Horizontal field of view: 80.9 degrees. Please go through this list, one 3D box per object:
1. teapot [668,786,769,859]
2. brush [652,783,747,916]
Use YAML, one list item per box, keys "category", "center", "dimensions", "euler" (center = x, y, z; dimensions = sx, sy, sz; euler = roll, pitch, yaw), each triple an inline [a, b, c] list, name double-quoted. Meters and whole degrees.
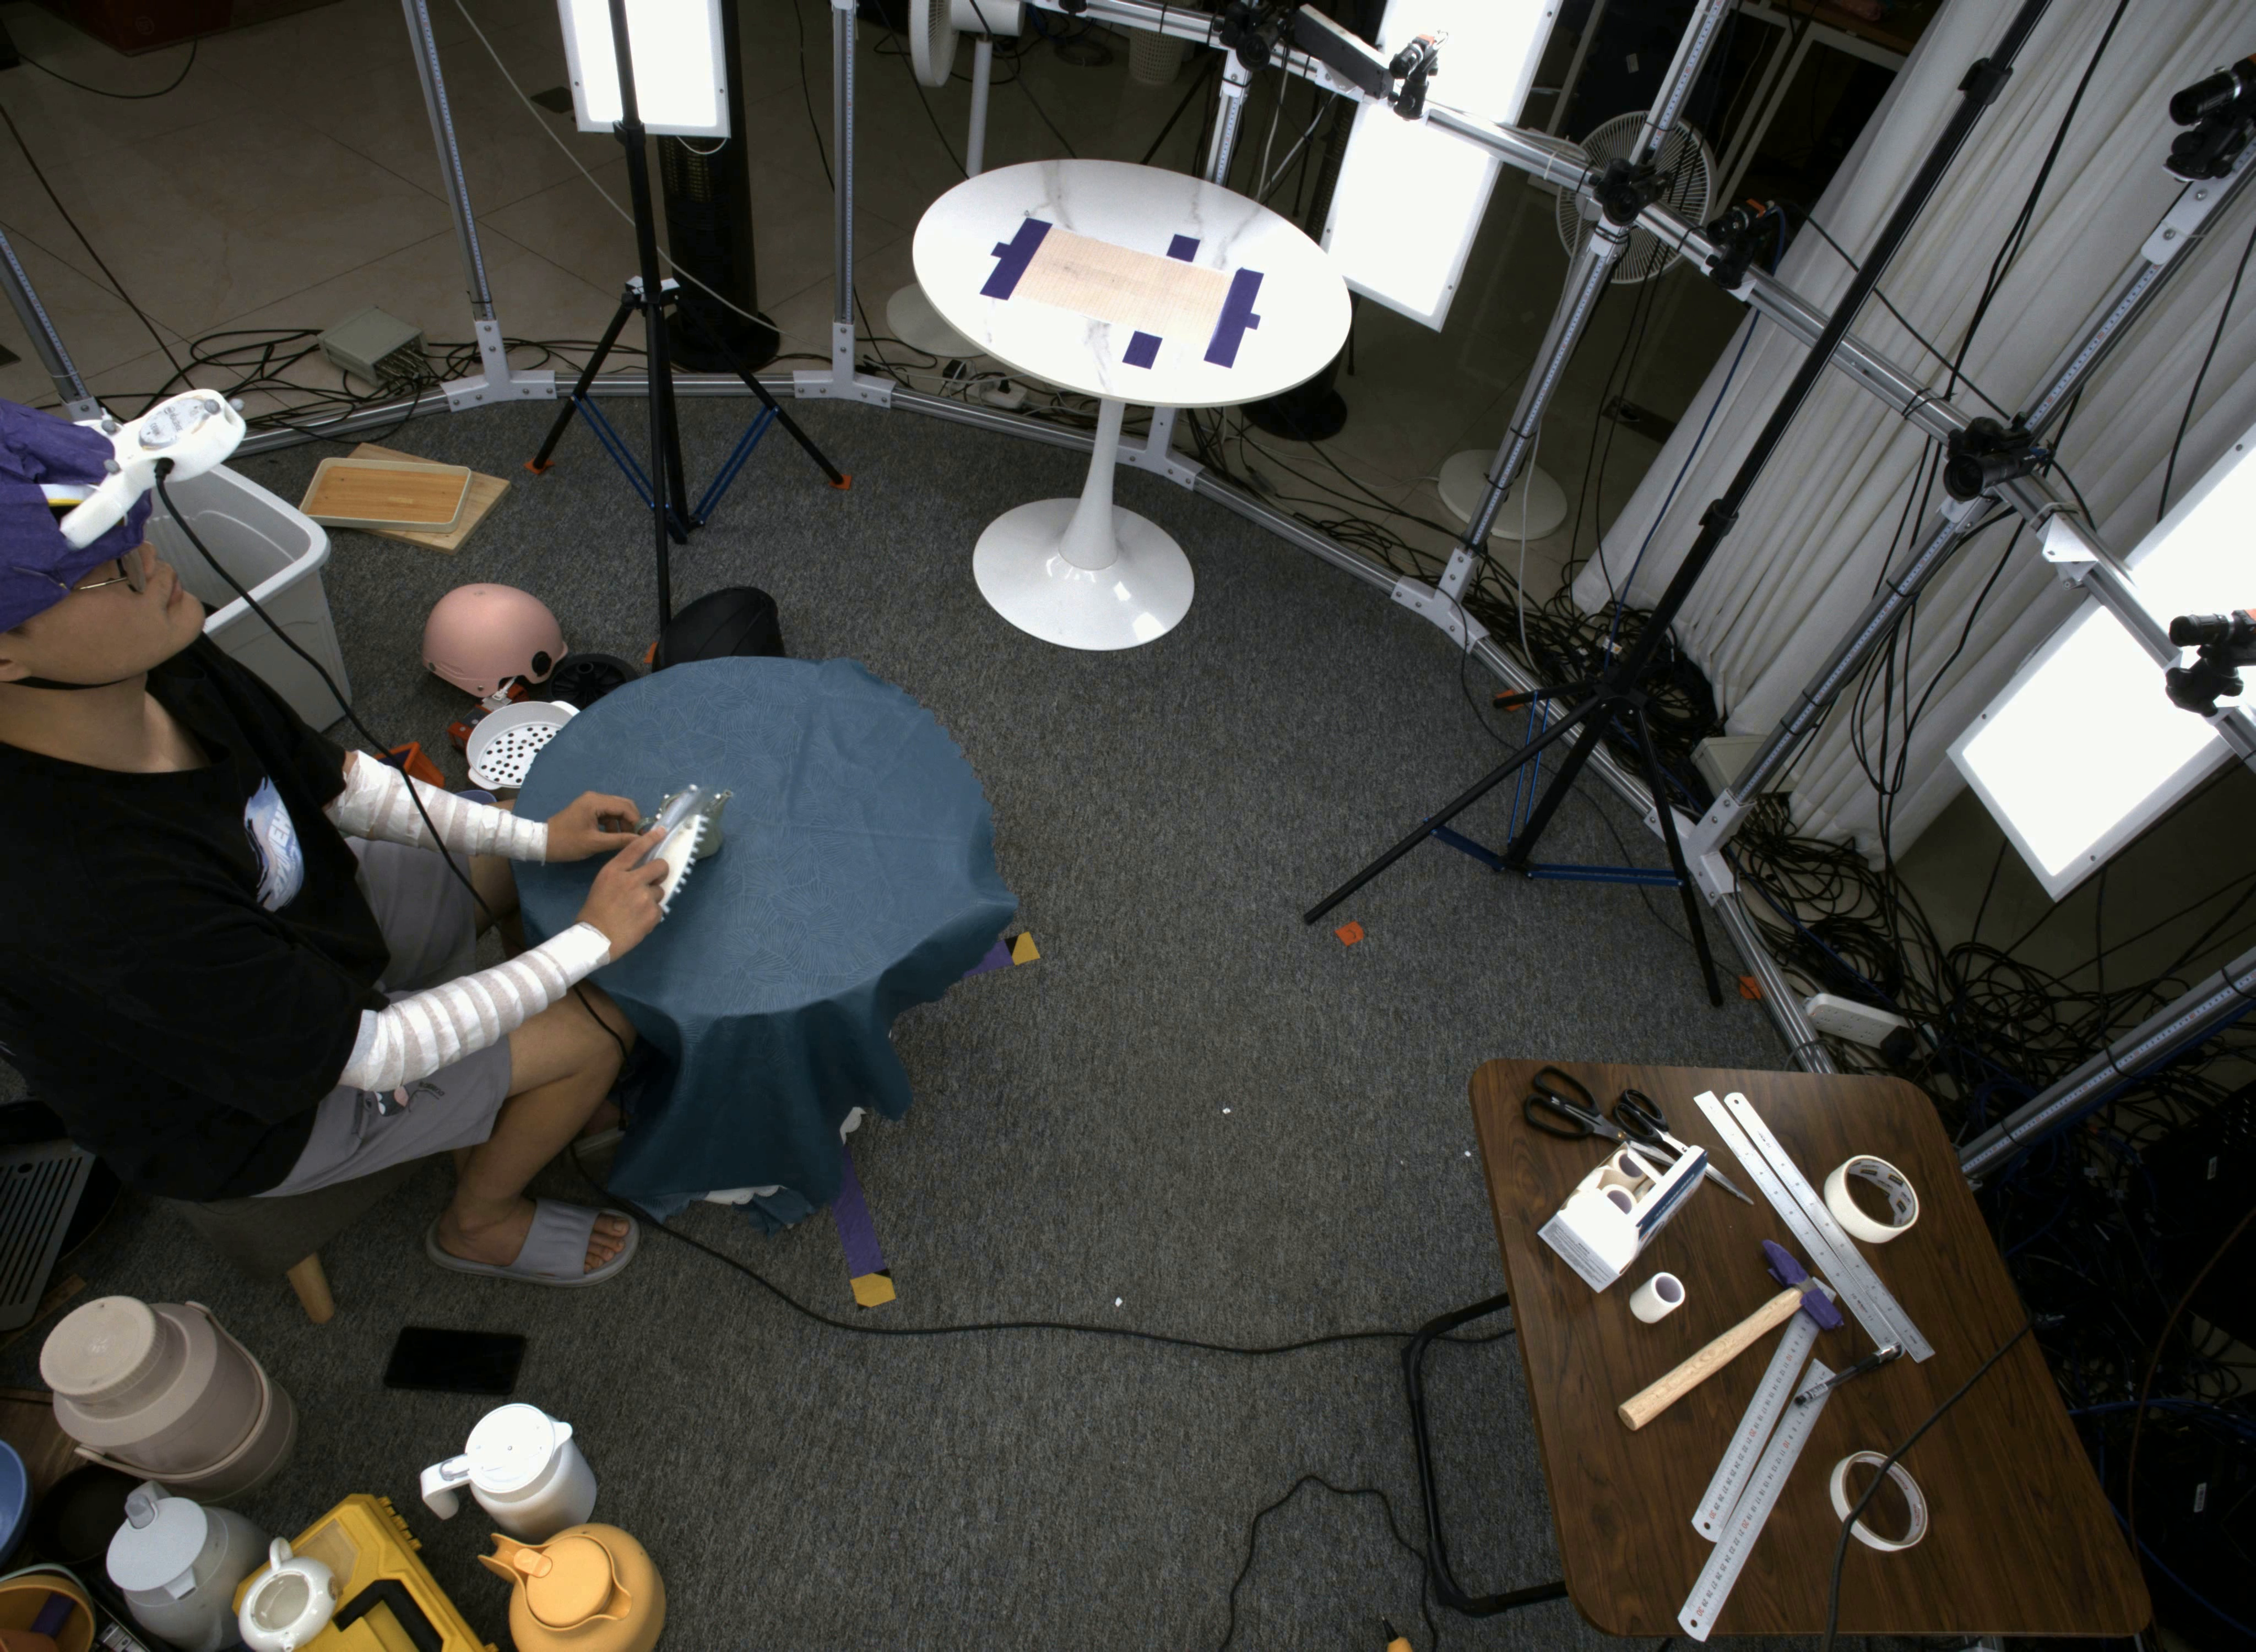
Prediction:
- category: "teapot"
  center: [-0.525, -0.008, 1.669]
  dimensions: [0.133, 0.077, 0.077]
  euler: [-19, 57, -23]
- category: "brush"
  center: [-0.522, 0.016, 1.577]
  dimensions: [0.061, 0.094, 0.176]
  euler: [28, 78, 1]
